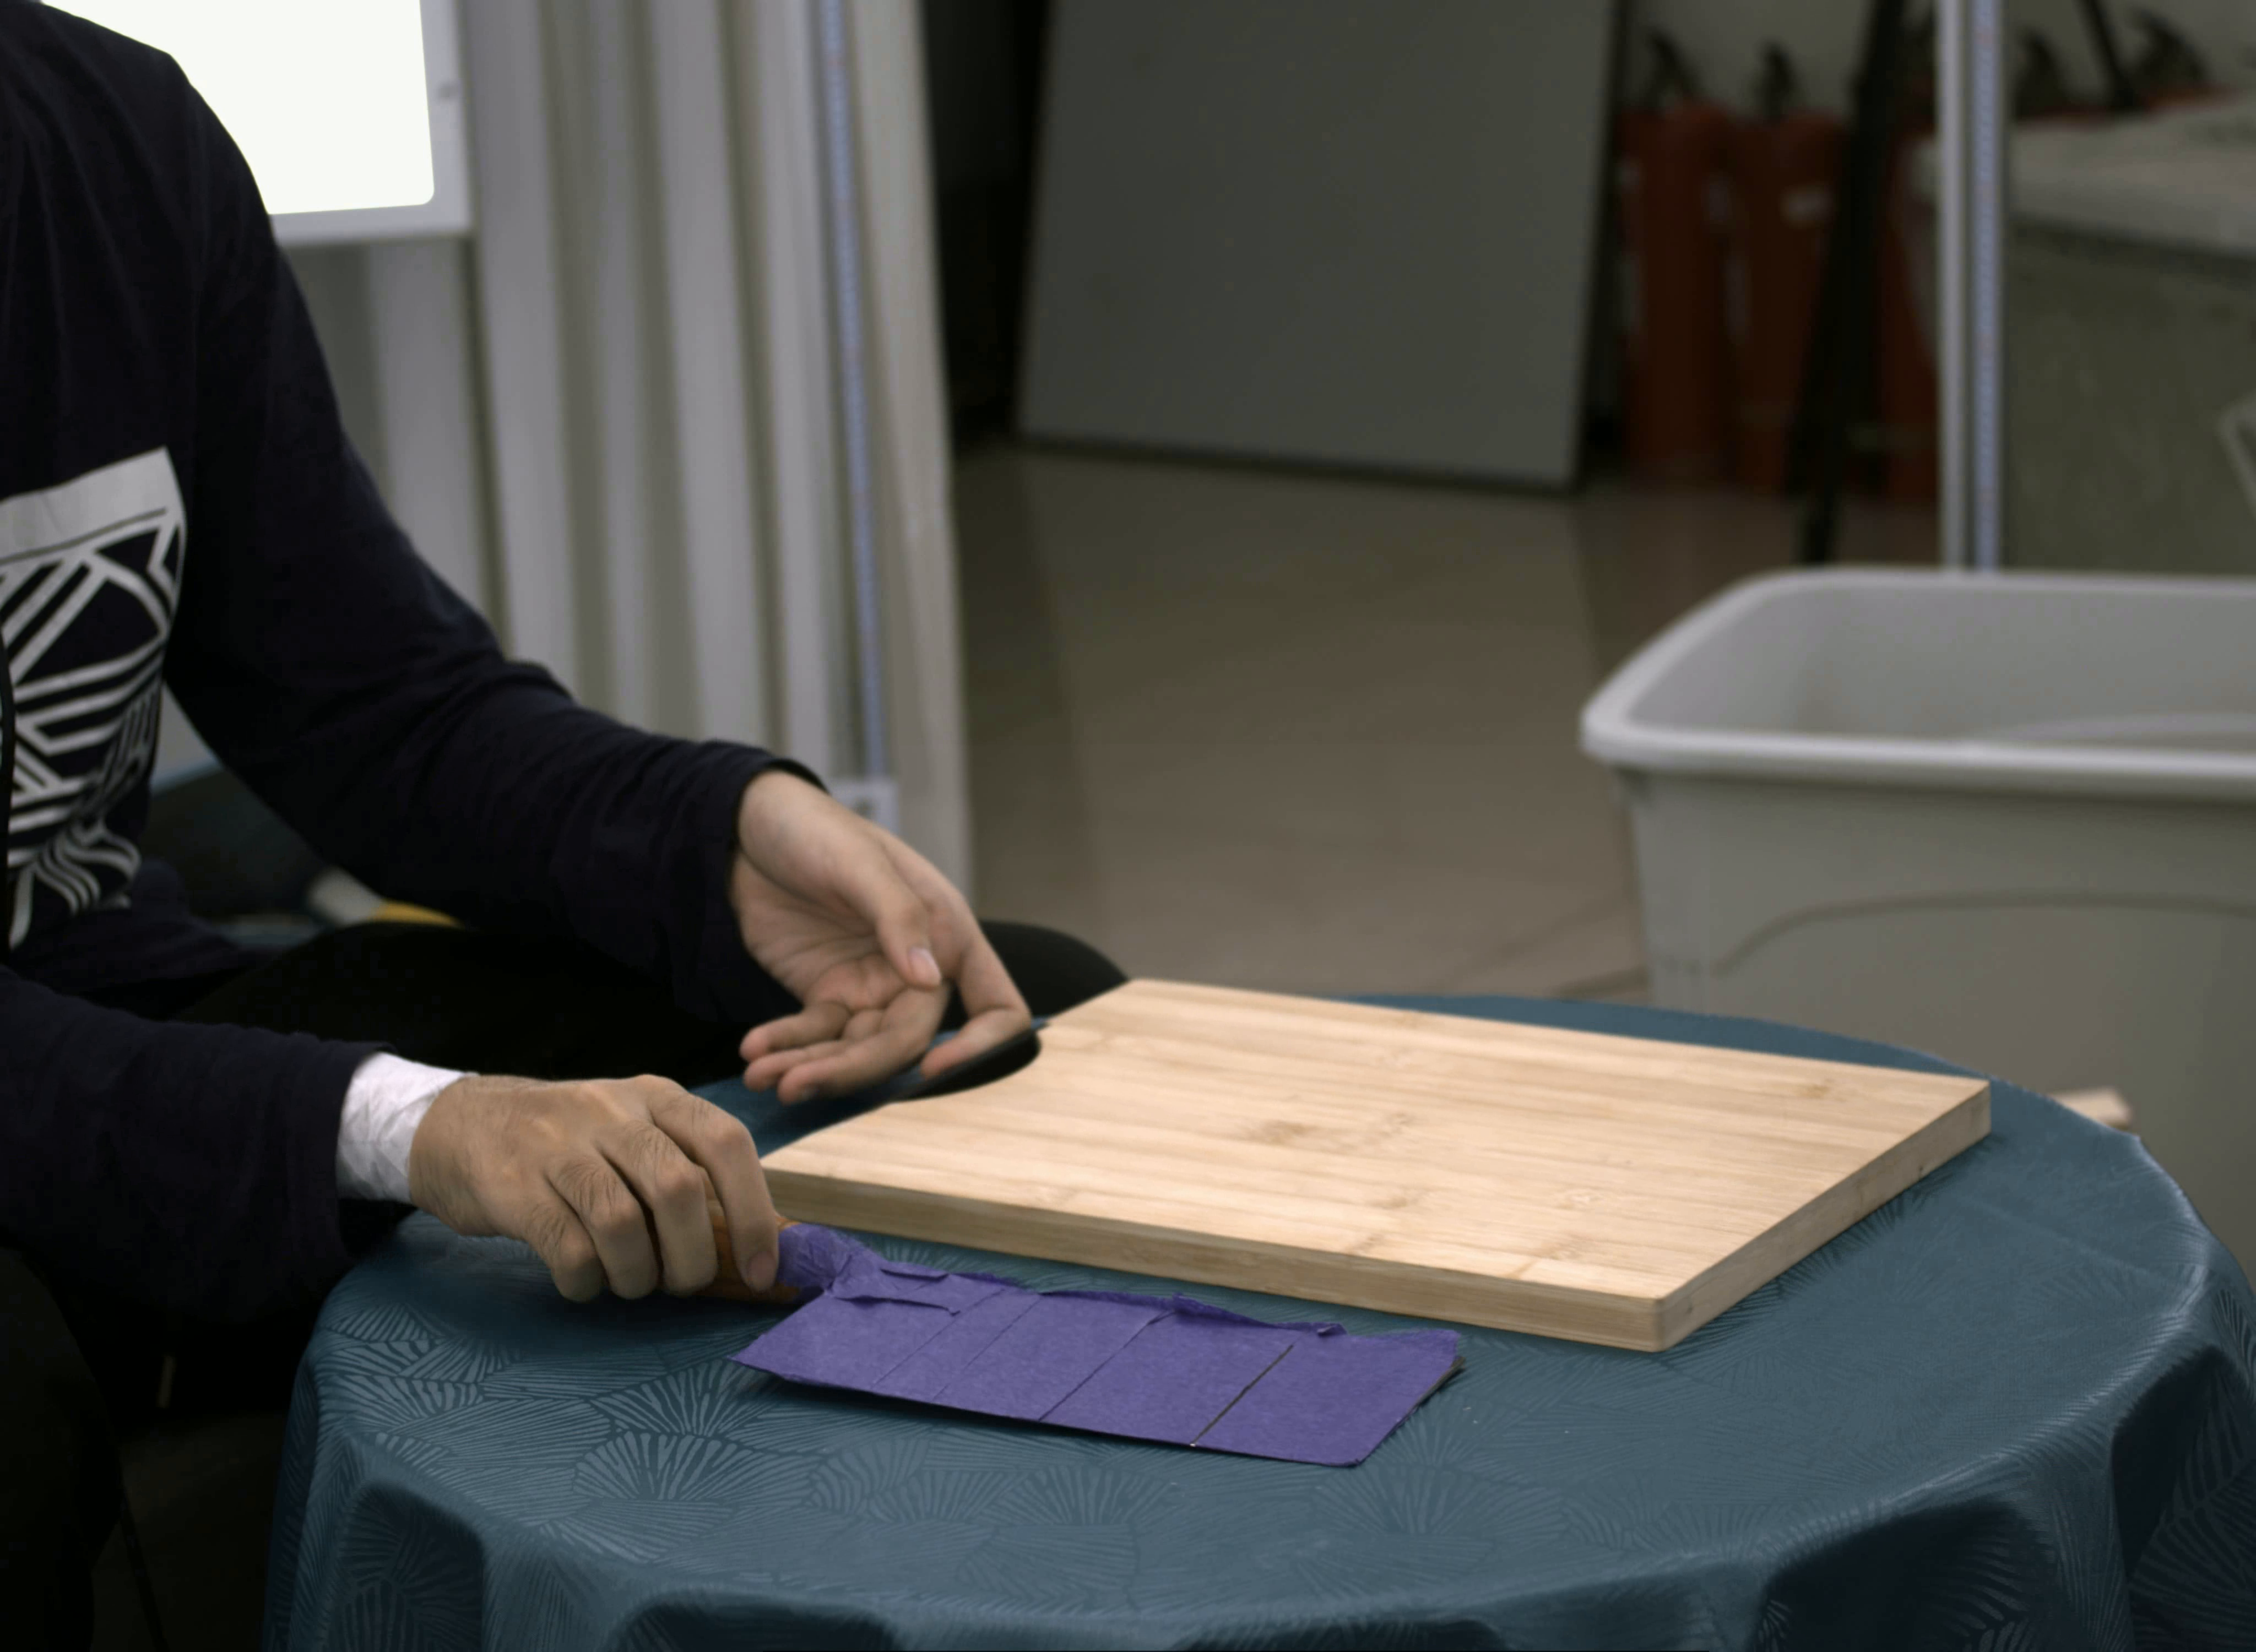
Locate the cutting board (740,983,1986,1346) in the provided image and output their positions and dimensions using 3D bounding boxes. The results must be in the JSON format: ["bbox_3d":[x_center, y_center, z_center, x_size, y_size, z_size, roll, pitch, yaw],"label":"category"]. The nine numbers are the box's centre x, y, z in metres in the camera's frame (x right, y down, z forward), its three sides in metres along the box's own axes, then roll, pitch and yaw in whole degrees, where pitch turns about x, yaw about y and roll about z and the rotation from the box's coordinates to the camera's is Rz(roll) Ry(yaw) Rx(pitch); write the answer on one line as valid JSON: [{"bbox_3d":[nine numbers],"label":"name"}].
[{"bbox_3d":[0.077,0.106,1.779,0.350,0.024,0.246,5,16,34],"label":"cutting board"}]

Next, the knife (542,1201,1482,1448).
[{"bbox_3d":[-0.053,0.149,1.619,0.316,0.032,0.102,3,16,27],"label":"knife"}]
